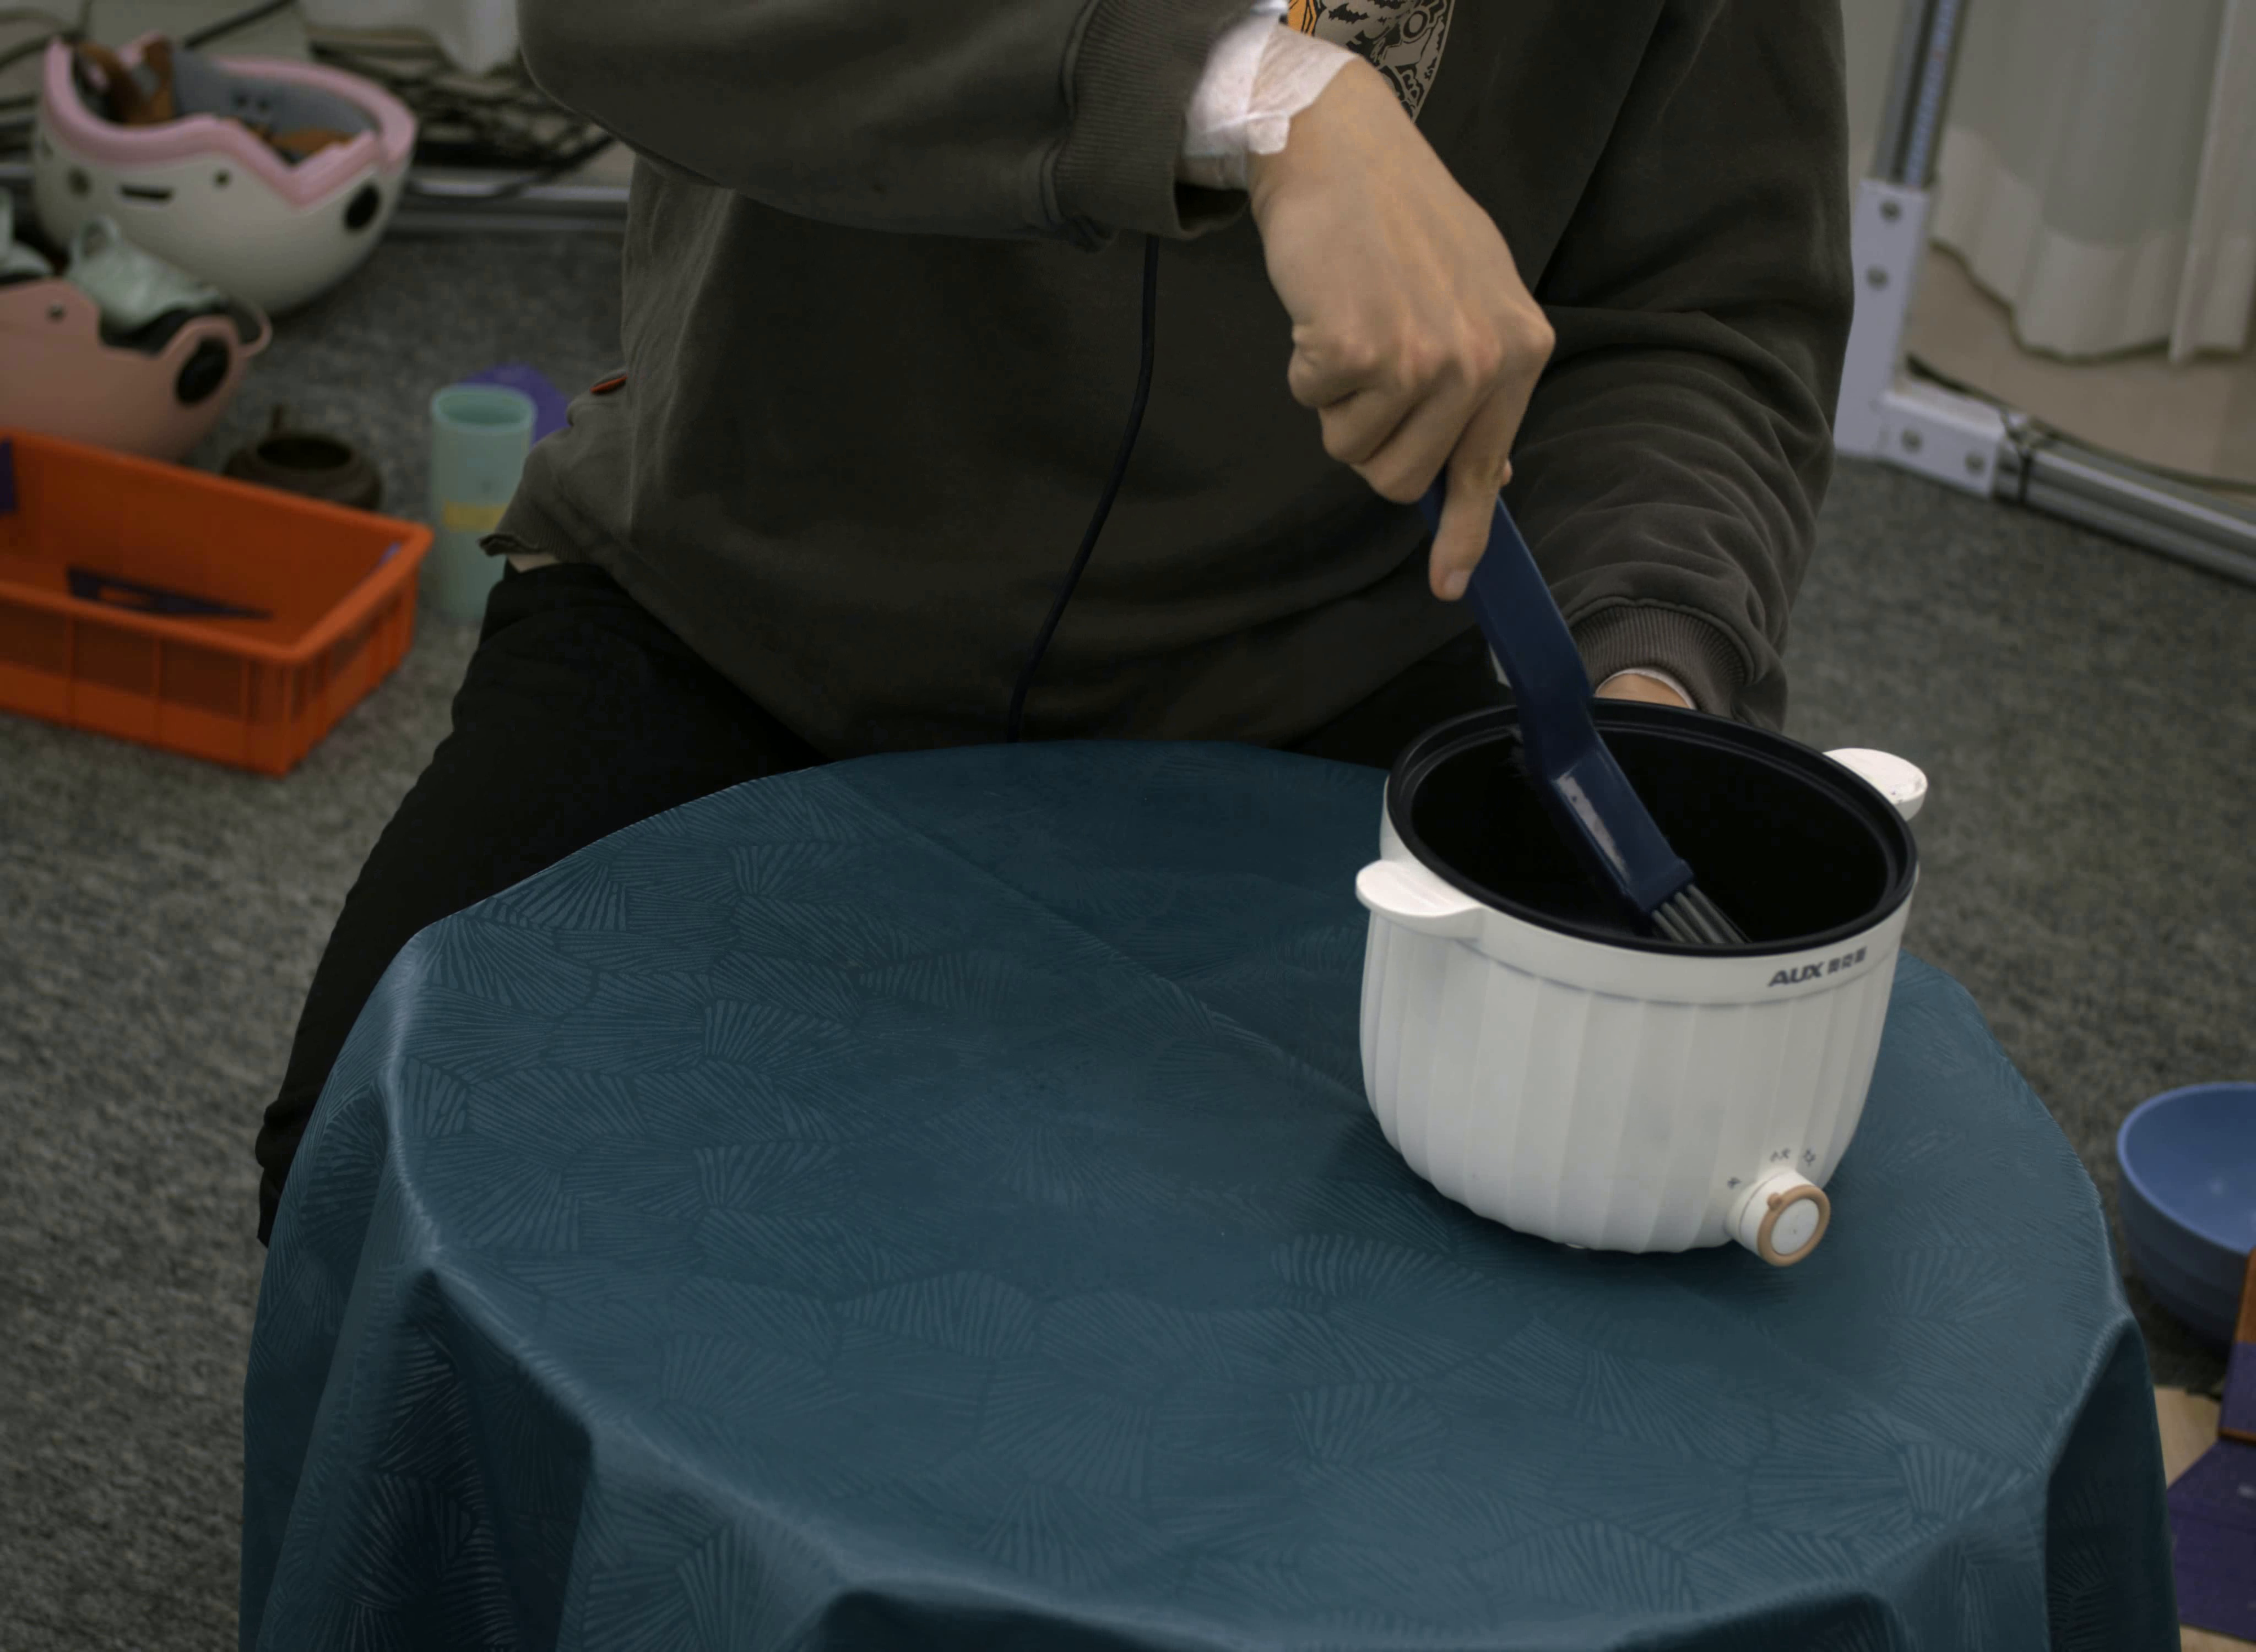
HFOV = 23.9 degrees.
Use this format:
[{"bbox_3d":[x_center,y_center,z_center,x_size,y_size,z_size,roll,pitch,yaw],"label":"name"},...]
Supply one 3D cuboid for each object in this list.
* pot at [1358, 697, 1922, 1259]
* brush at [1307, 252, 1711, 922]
[{"bbox_3d":[0.175,0.057,1.820,0.239,0.142,0.192,-14,29,-33],"label":"pot"},{"bbox_3d":[0.135,-0.065,1.785,0.033,0.271,0.096,-34,31,-14],"label":"brush"}]
